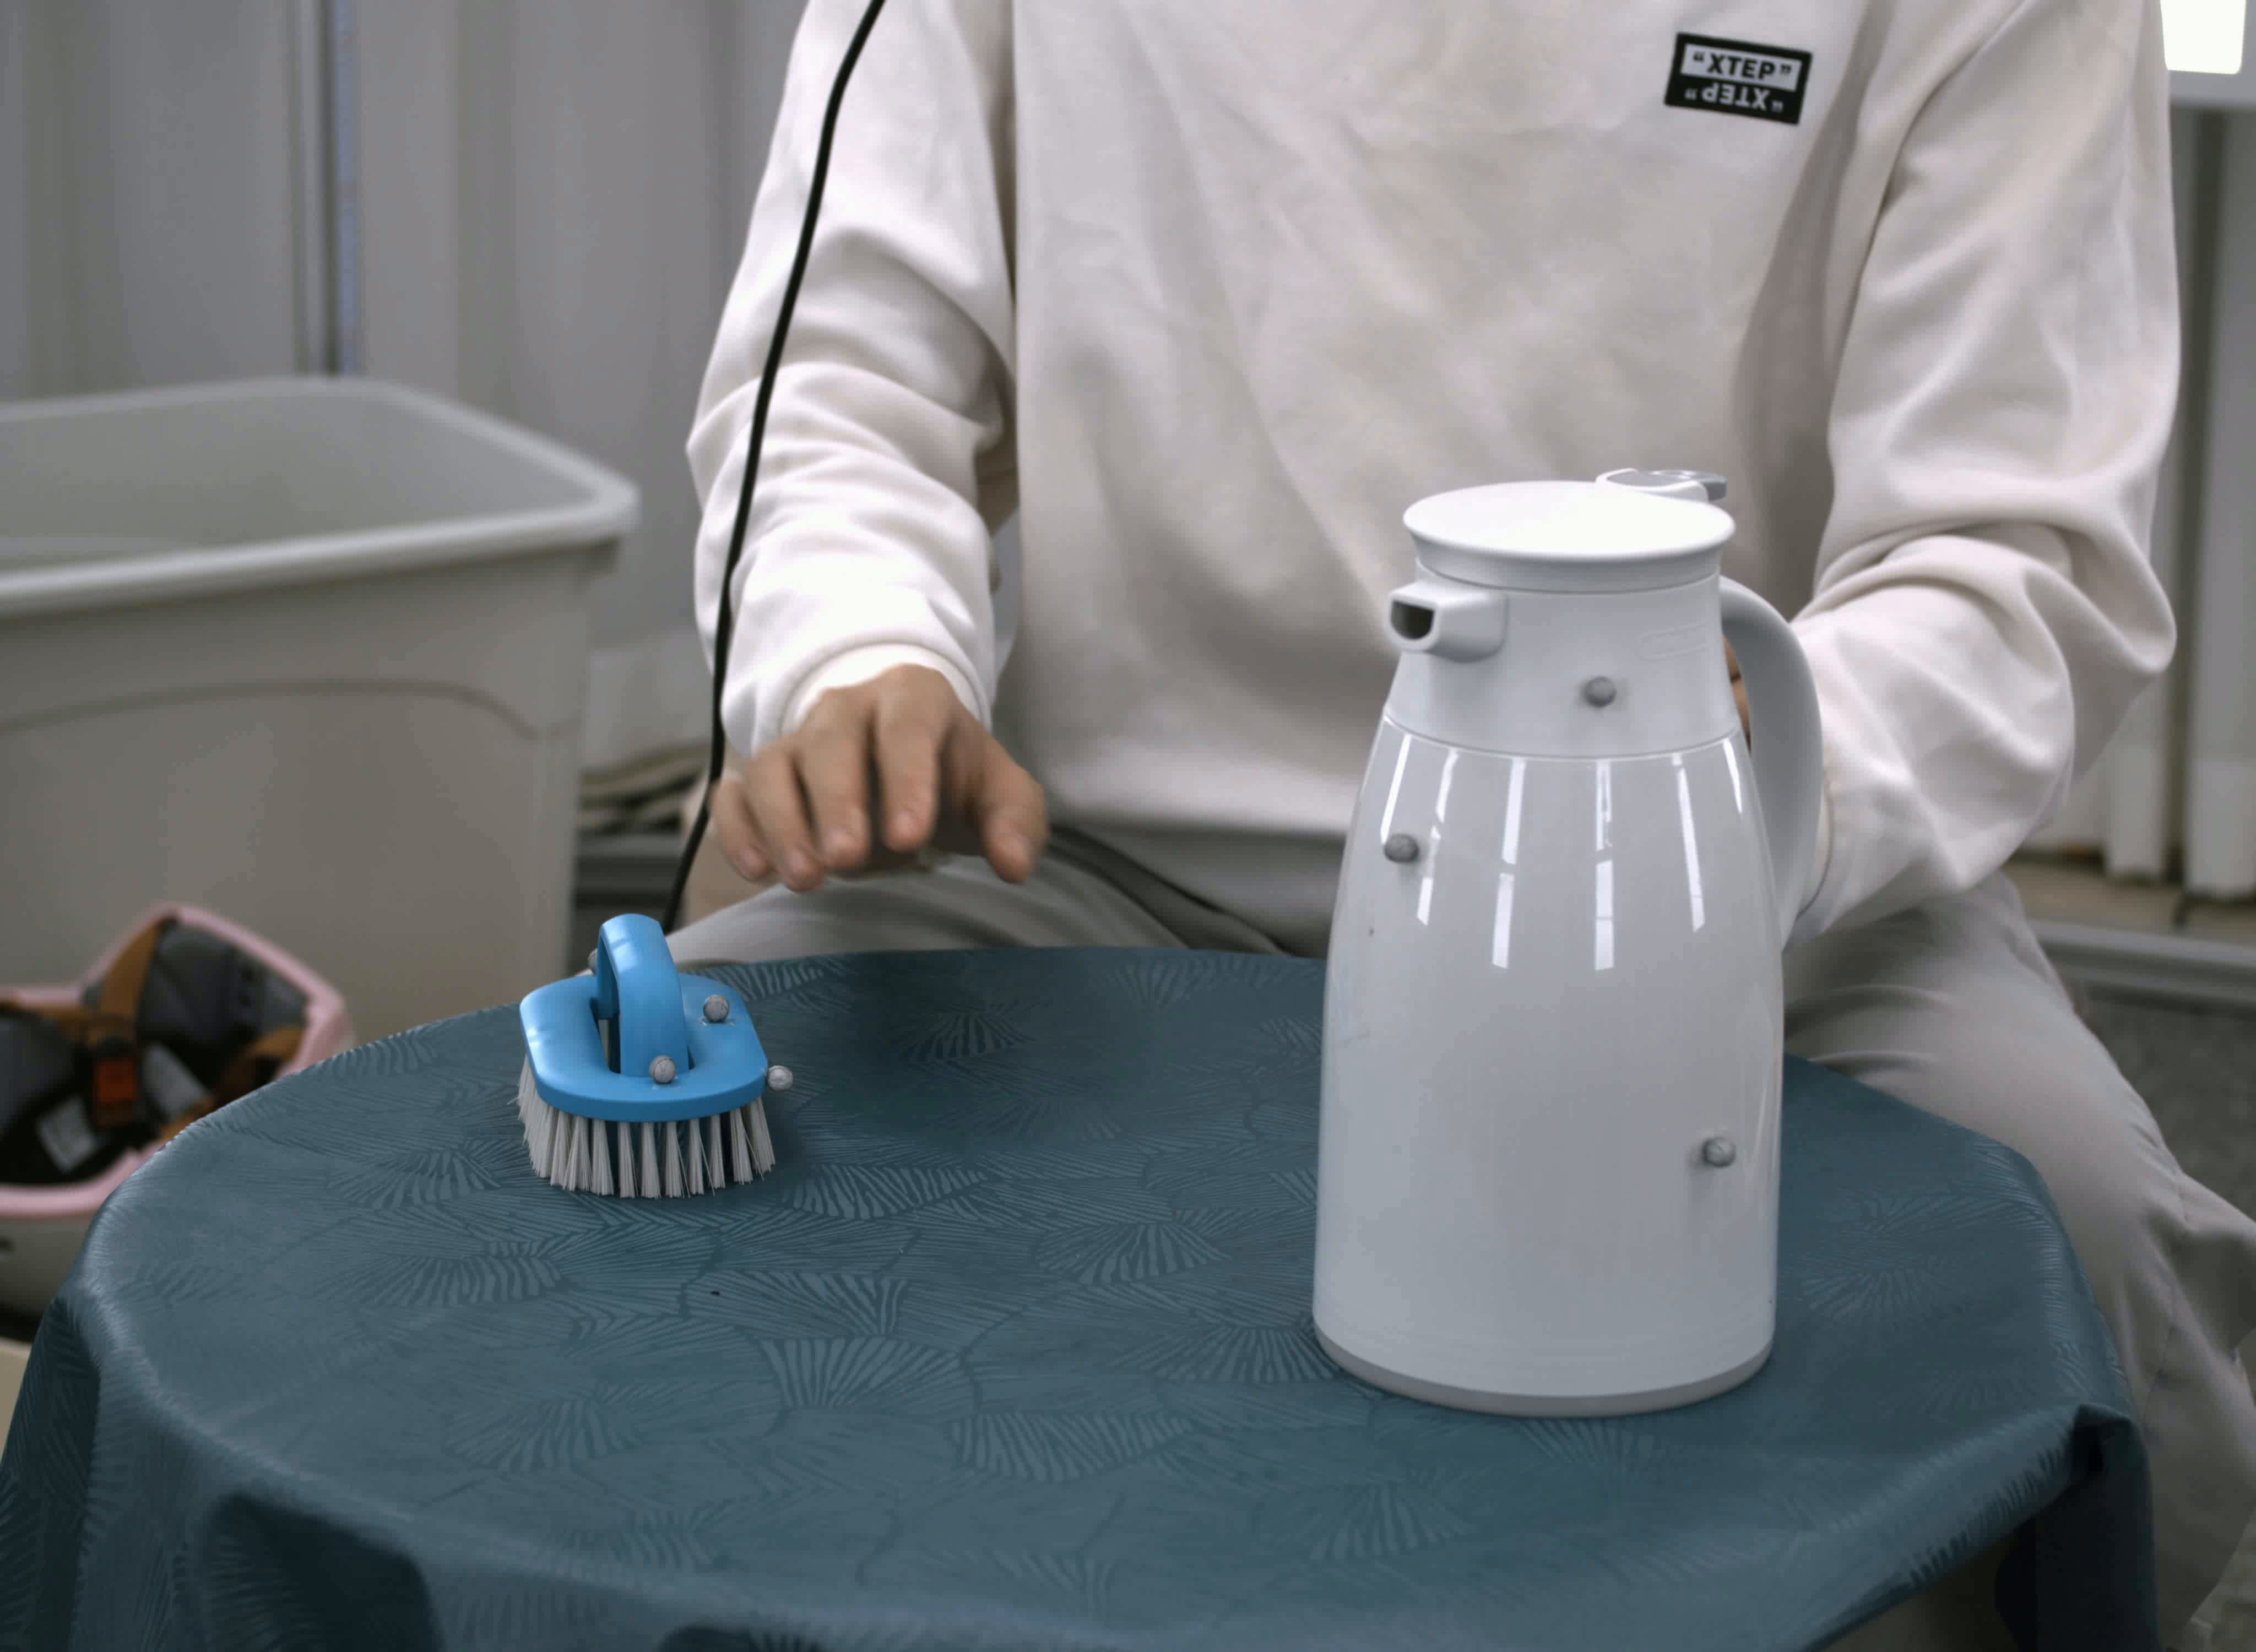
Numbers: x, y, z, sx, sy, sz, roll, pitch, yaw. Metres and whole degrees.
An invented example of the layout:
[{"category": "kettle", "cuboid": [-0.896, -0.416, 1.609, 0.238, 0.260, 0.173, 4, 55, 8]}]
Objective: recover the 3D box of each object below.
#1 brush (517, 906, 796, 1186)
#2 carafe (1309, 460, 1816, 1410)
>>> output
[{"category": "brush", "cuboid": [-0.153, 0.064, 1.673, 0.084, 0.064, 0.140, -6, 16, -8]}, {"category": "carafe", "cuboid": [0.132, 0.022, 1.493, 0.131, 0.250, 0.168, 16, 21, 42]}]
